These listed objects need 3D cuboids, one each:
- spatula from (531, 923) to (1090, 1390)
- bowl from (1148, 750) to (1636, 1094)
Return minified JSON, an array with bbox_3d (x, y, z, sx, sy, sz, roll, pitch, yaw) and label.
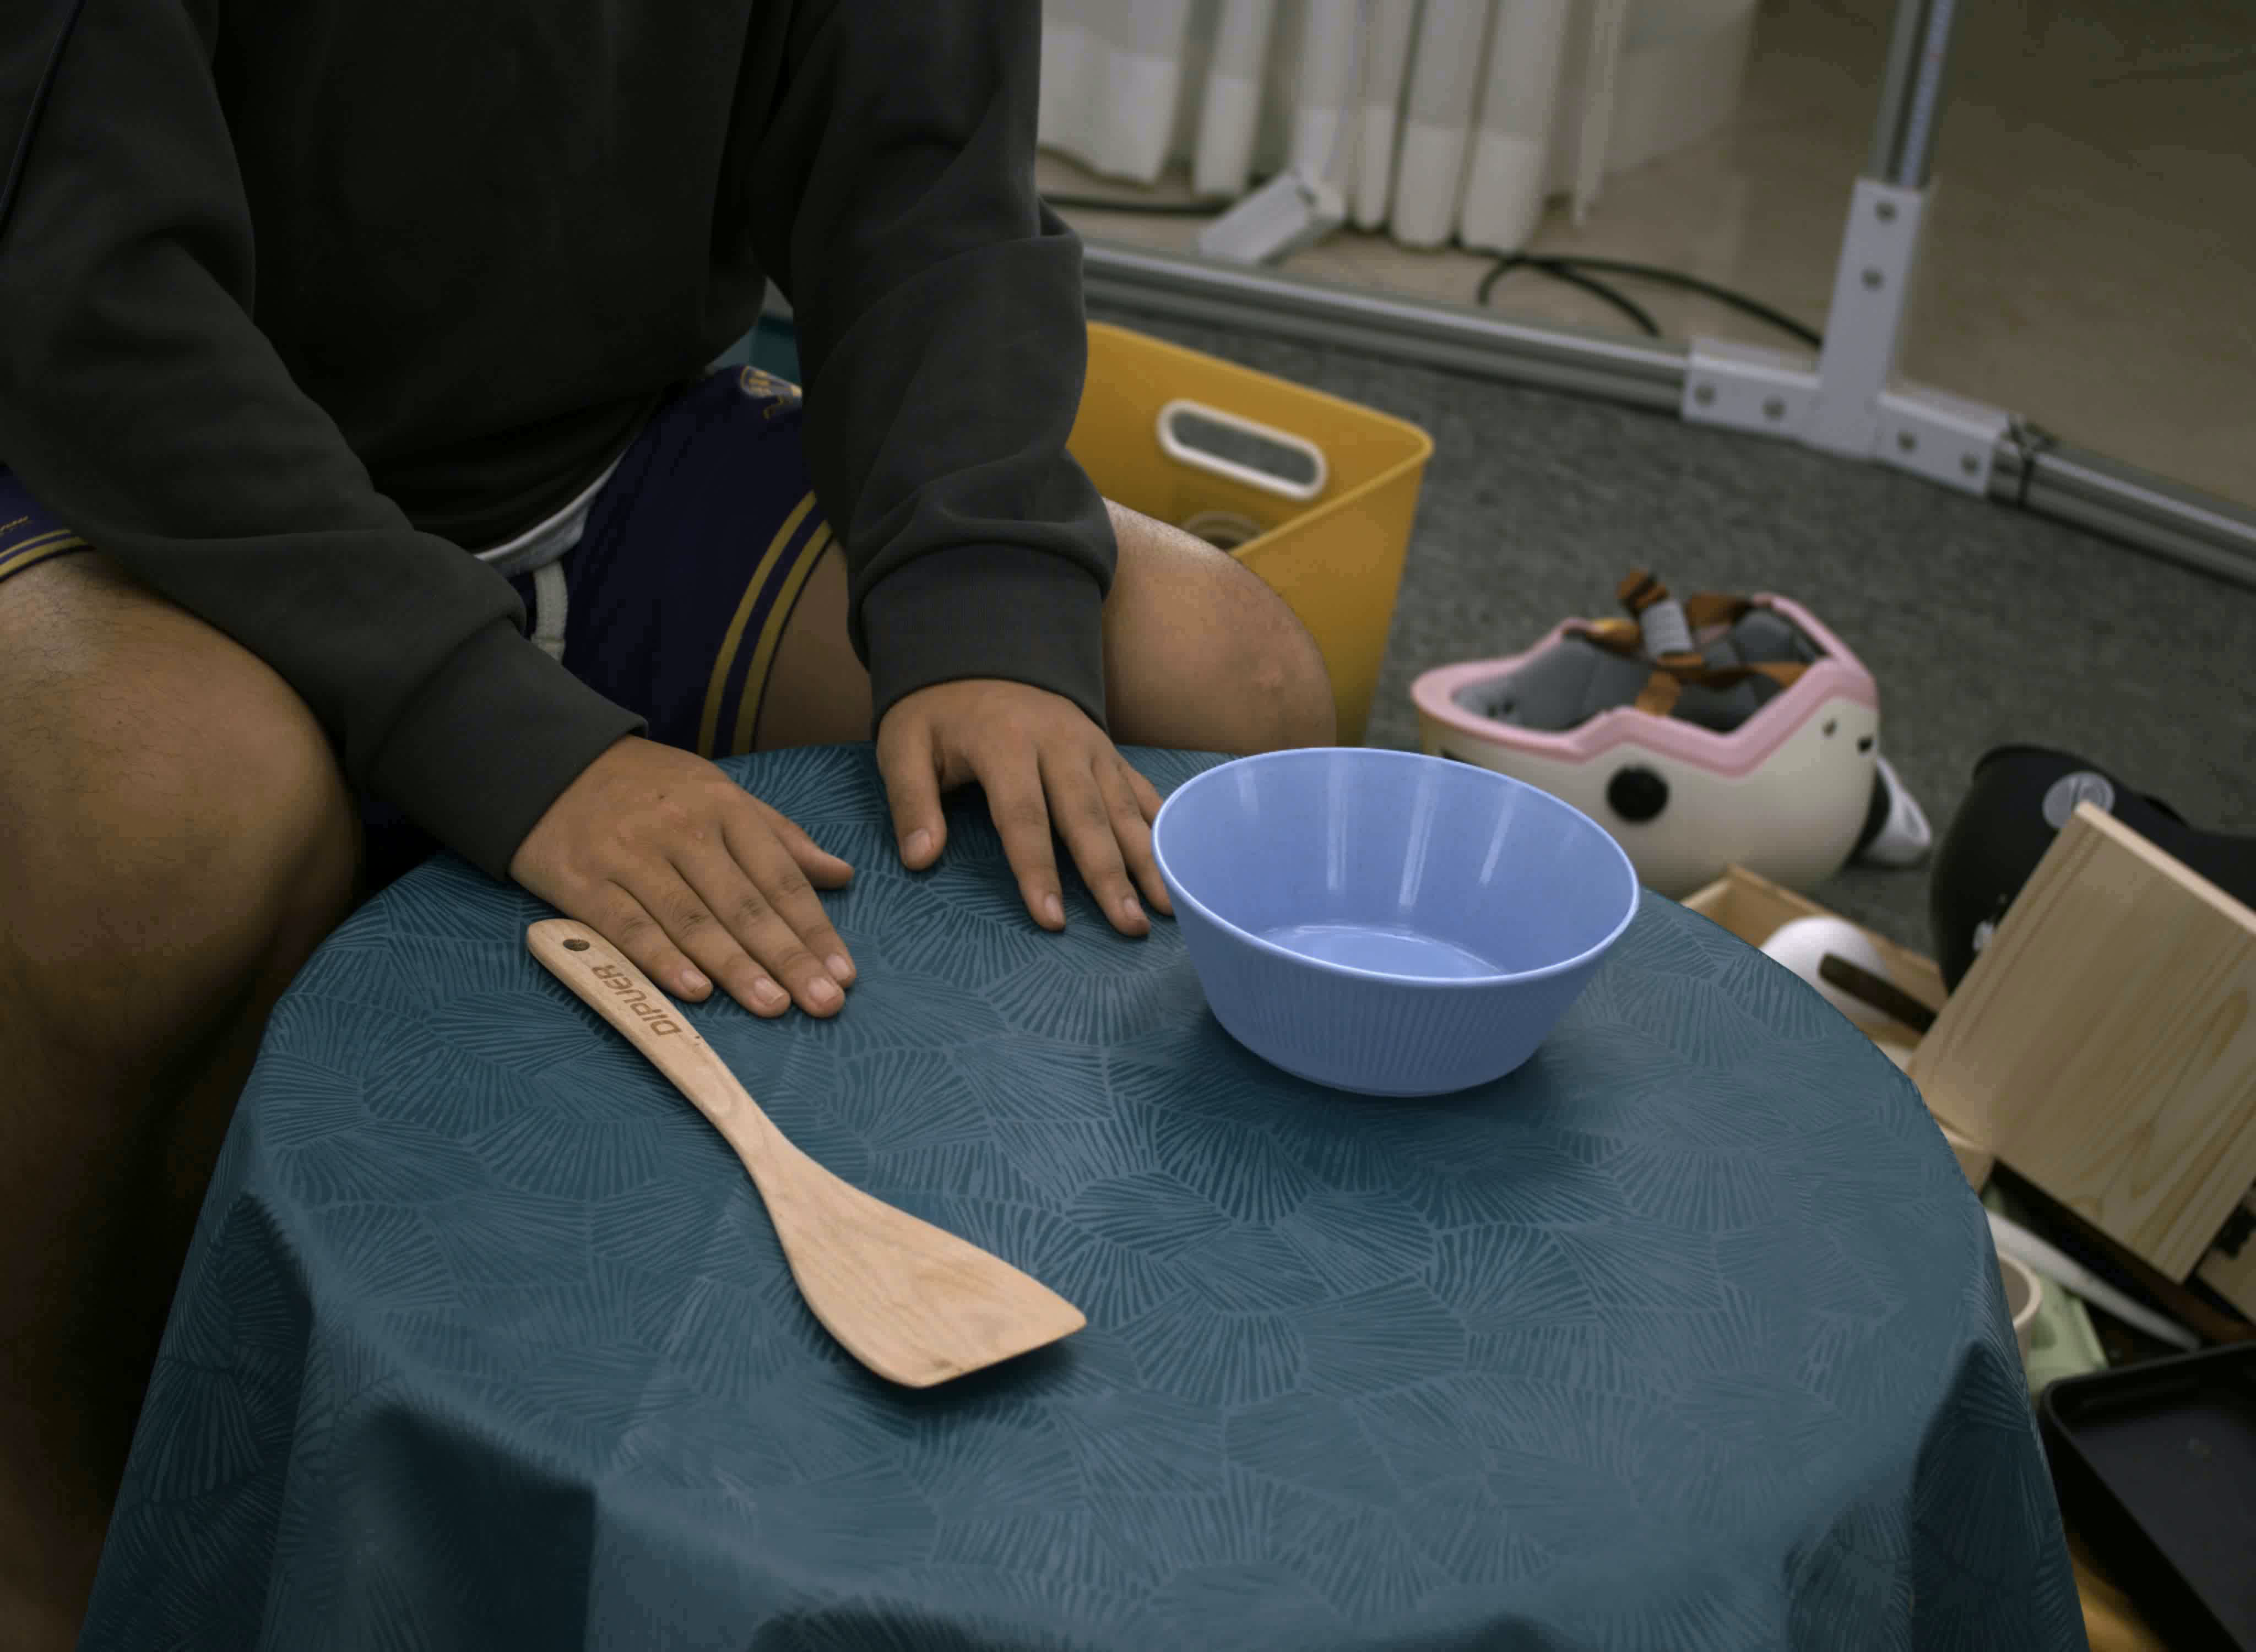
[{"bbox_3d":[-0.121,0.104,1.794,0.079,0.016,0.330,-11,32,-30],"label":"spatula"},{"bbox_3d":[0.091,0.040,1.909,0.175,0.070,0.177,5,27,-3],"label":"bowl"}]
